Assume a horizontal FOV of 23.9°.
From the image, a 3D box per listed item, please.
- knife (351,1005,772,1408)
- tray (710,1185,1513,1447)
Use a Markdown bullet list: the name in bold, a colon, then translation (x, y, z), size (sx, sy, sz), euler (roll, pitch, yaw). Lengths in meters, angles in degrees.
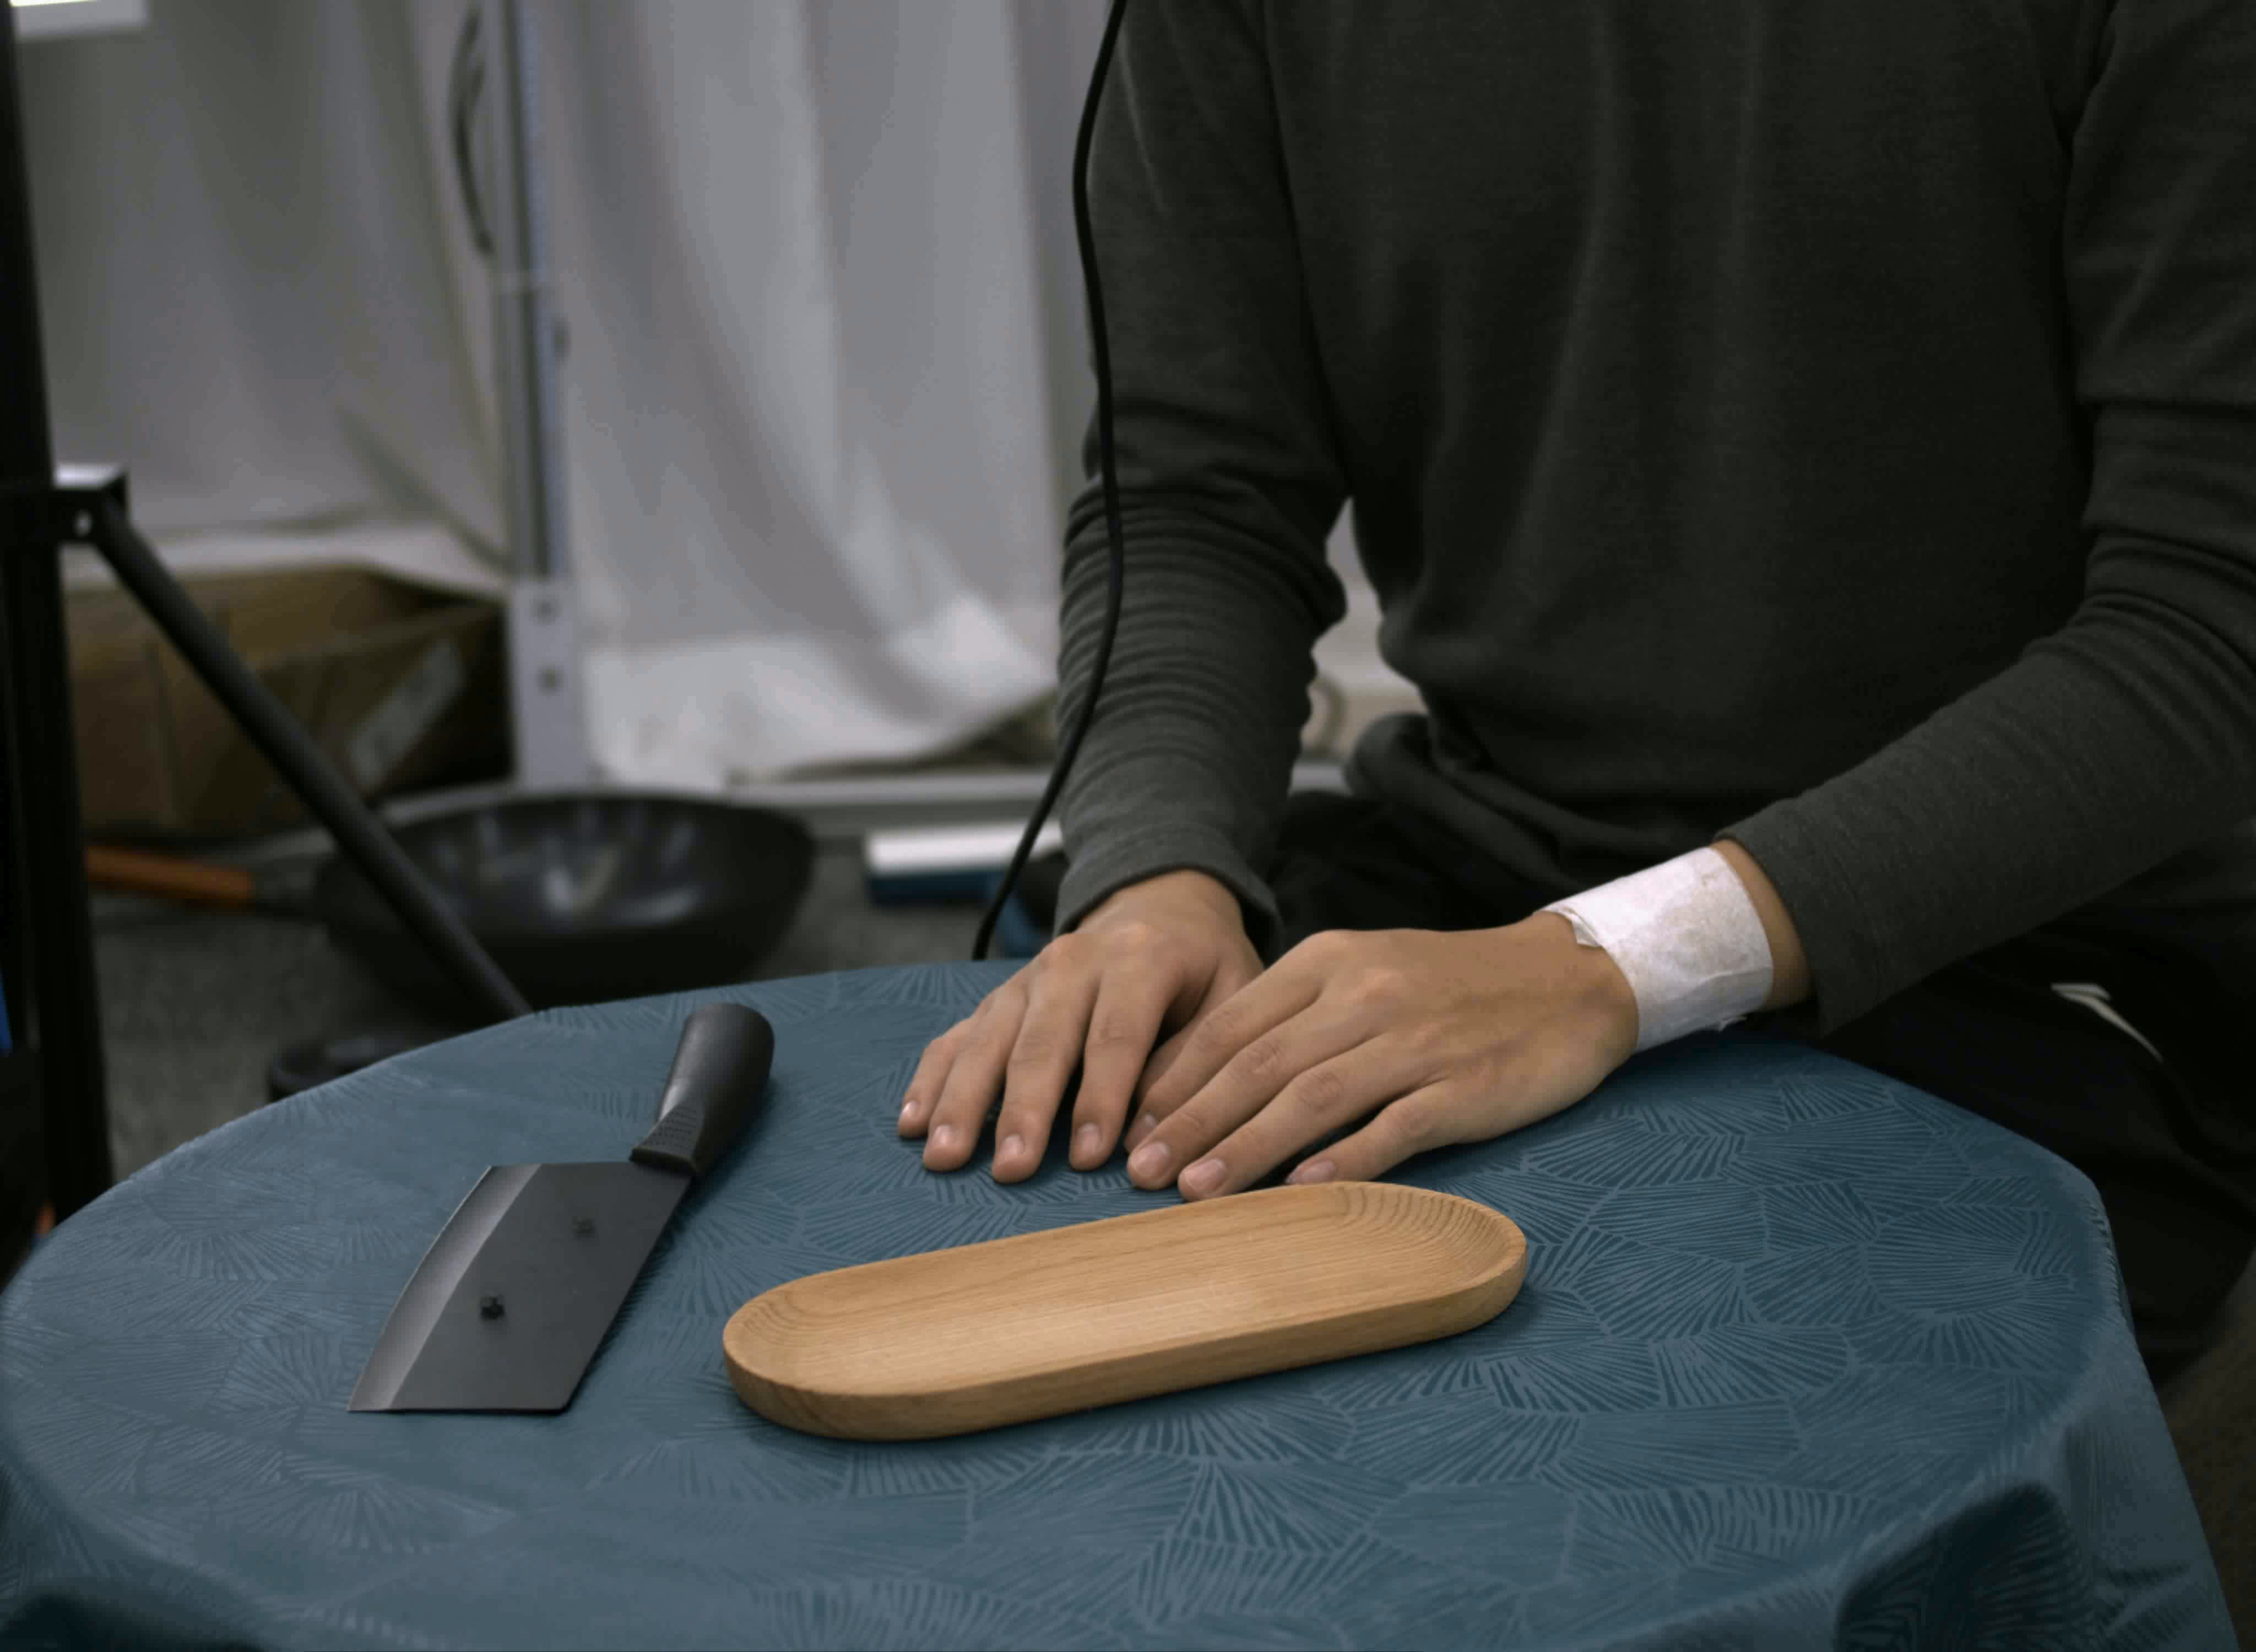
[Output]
- **knife**: translation (-0.157, 0.110, 1.557), size (0.081, 0.021, 0.300), euler (0, 17, 12)
- **tray**: translation (-0.002, 0.133, 1.445), size (0.227, 0.020, 0.103), euler (-10, 16, -22)
